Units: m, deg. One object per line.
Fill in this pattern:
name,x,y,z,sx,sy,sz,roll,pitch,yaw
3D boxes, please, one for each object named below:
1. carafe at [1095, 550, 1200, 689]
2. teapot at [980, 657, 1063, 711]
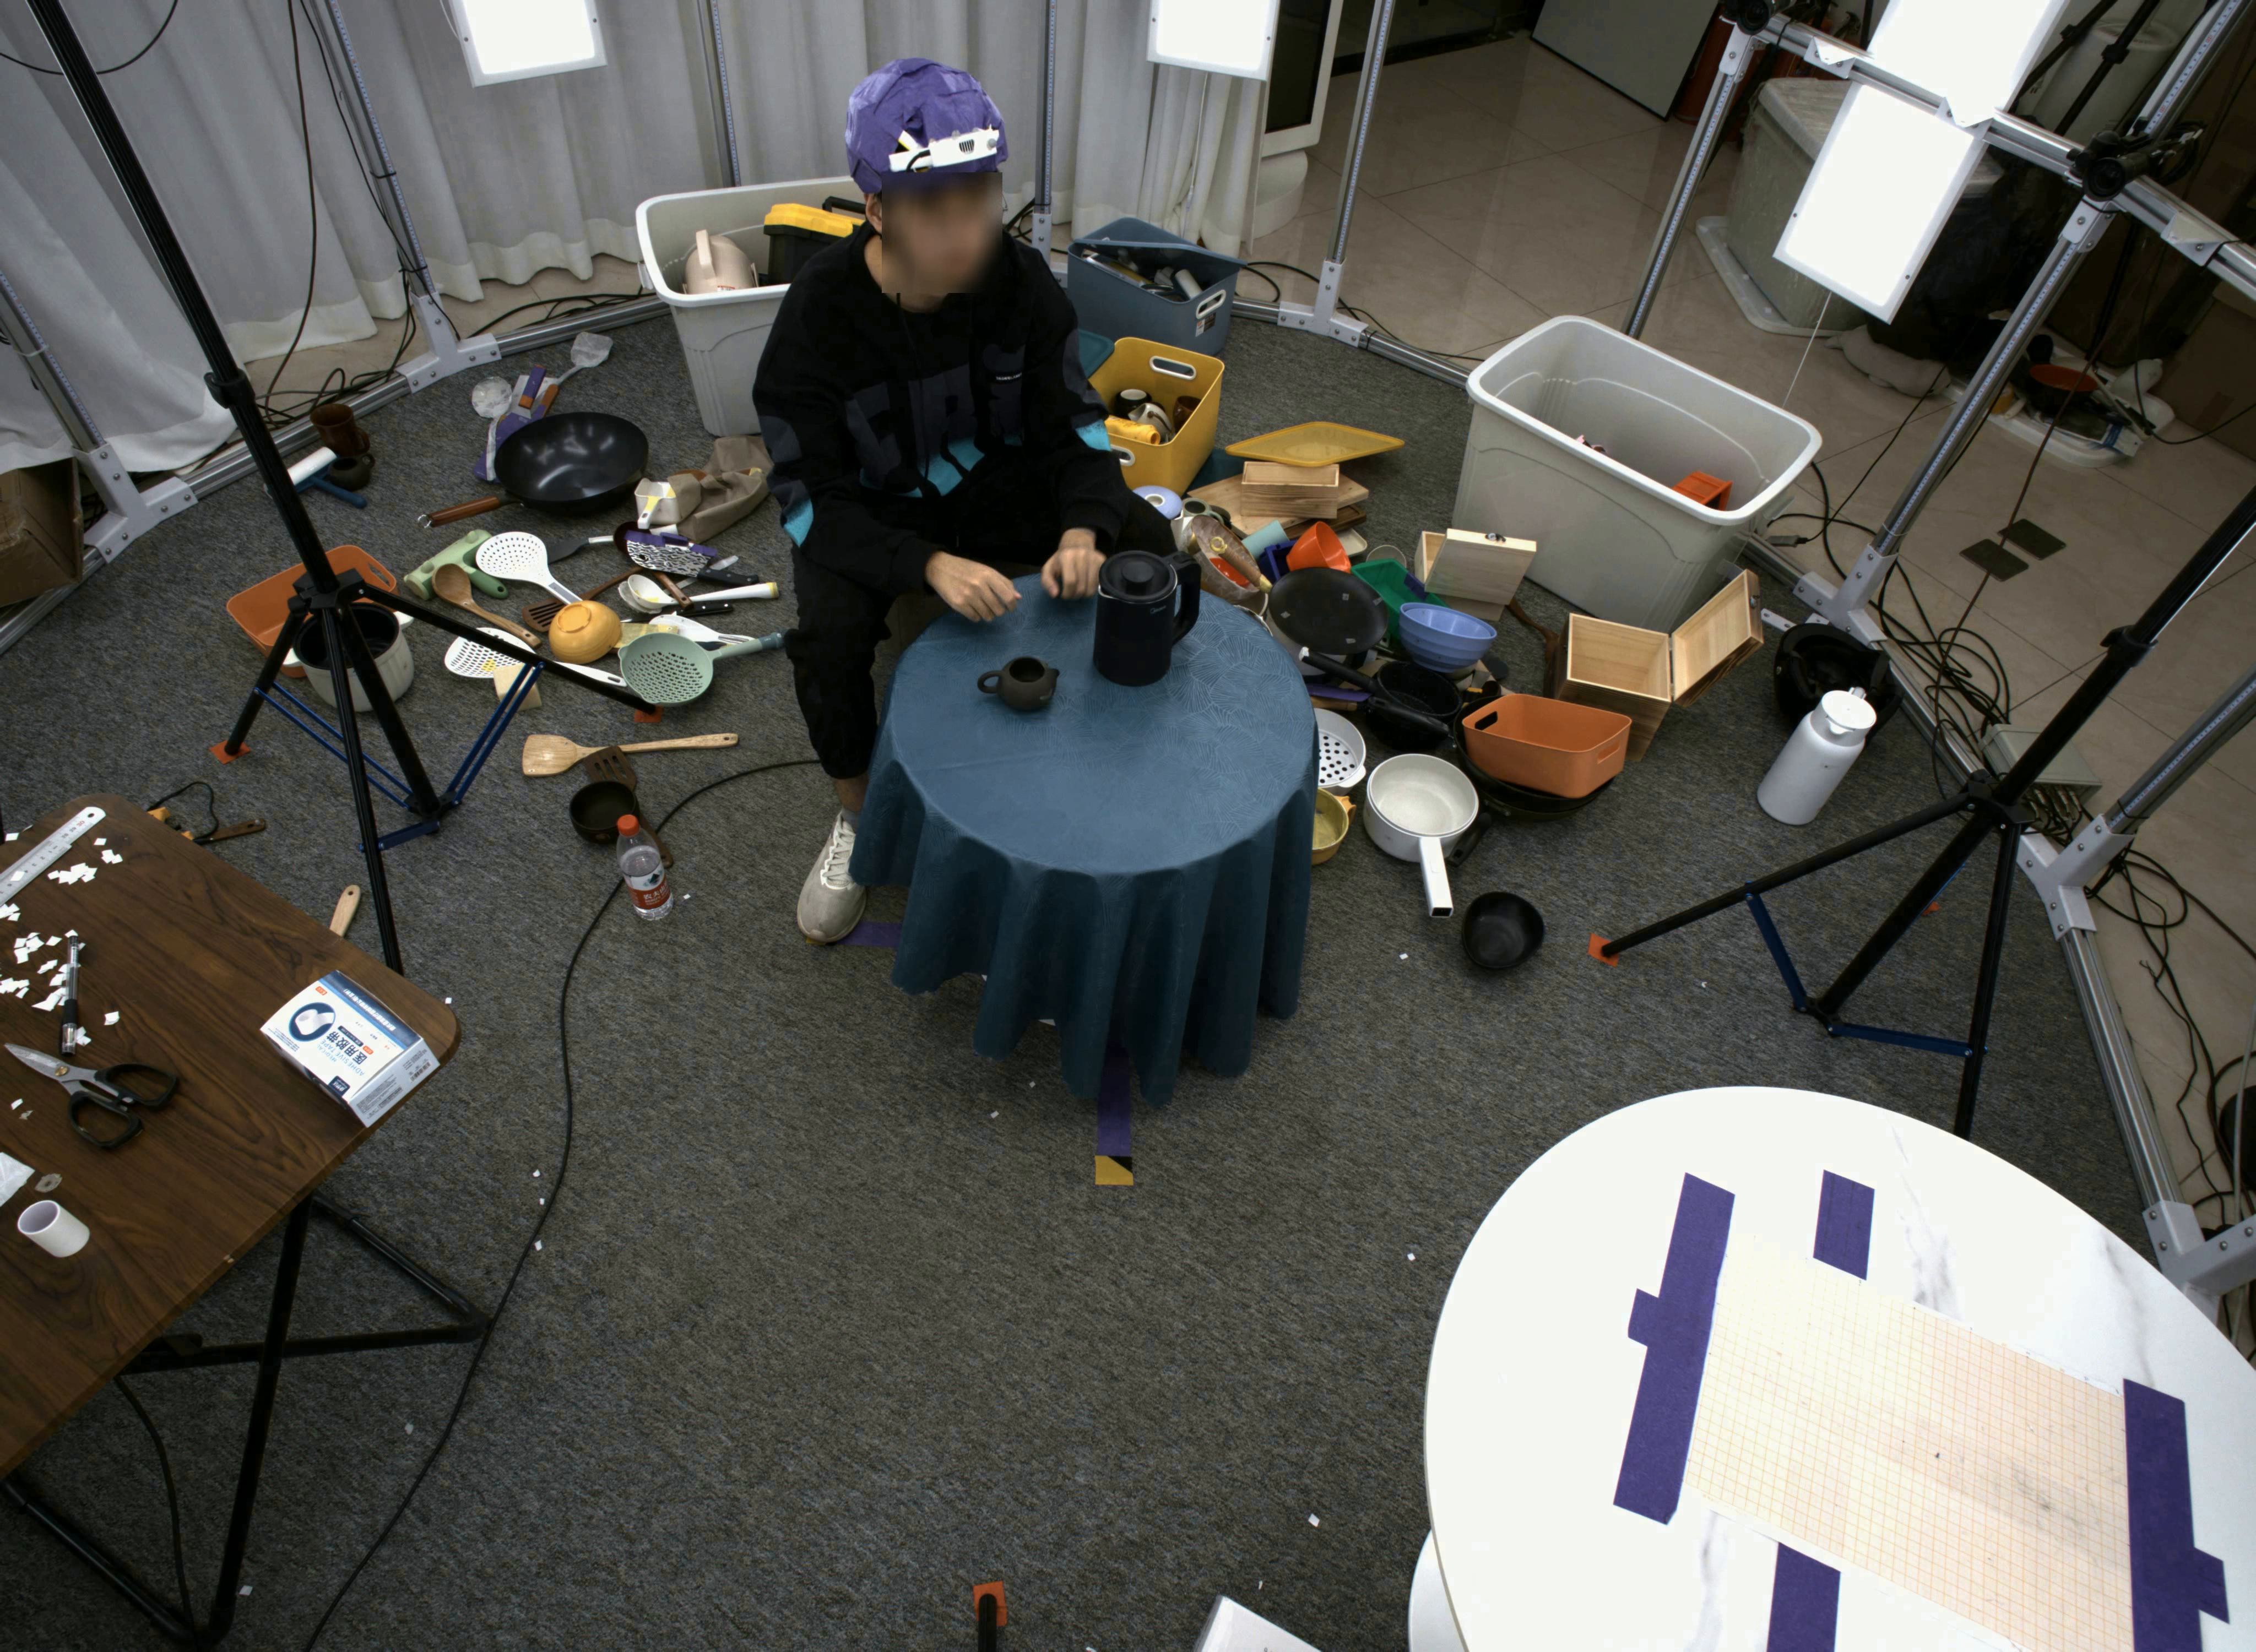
carafe,0.028,-0.307,1.826,0.172,0.169,0.117,-30,56,-23
teapot,-0.150,-0.202,1.801,0.114,0.052,0.085,3,48,-5
